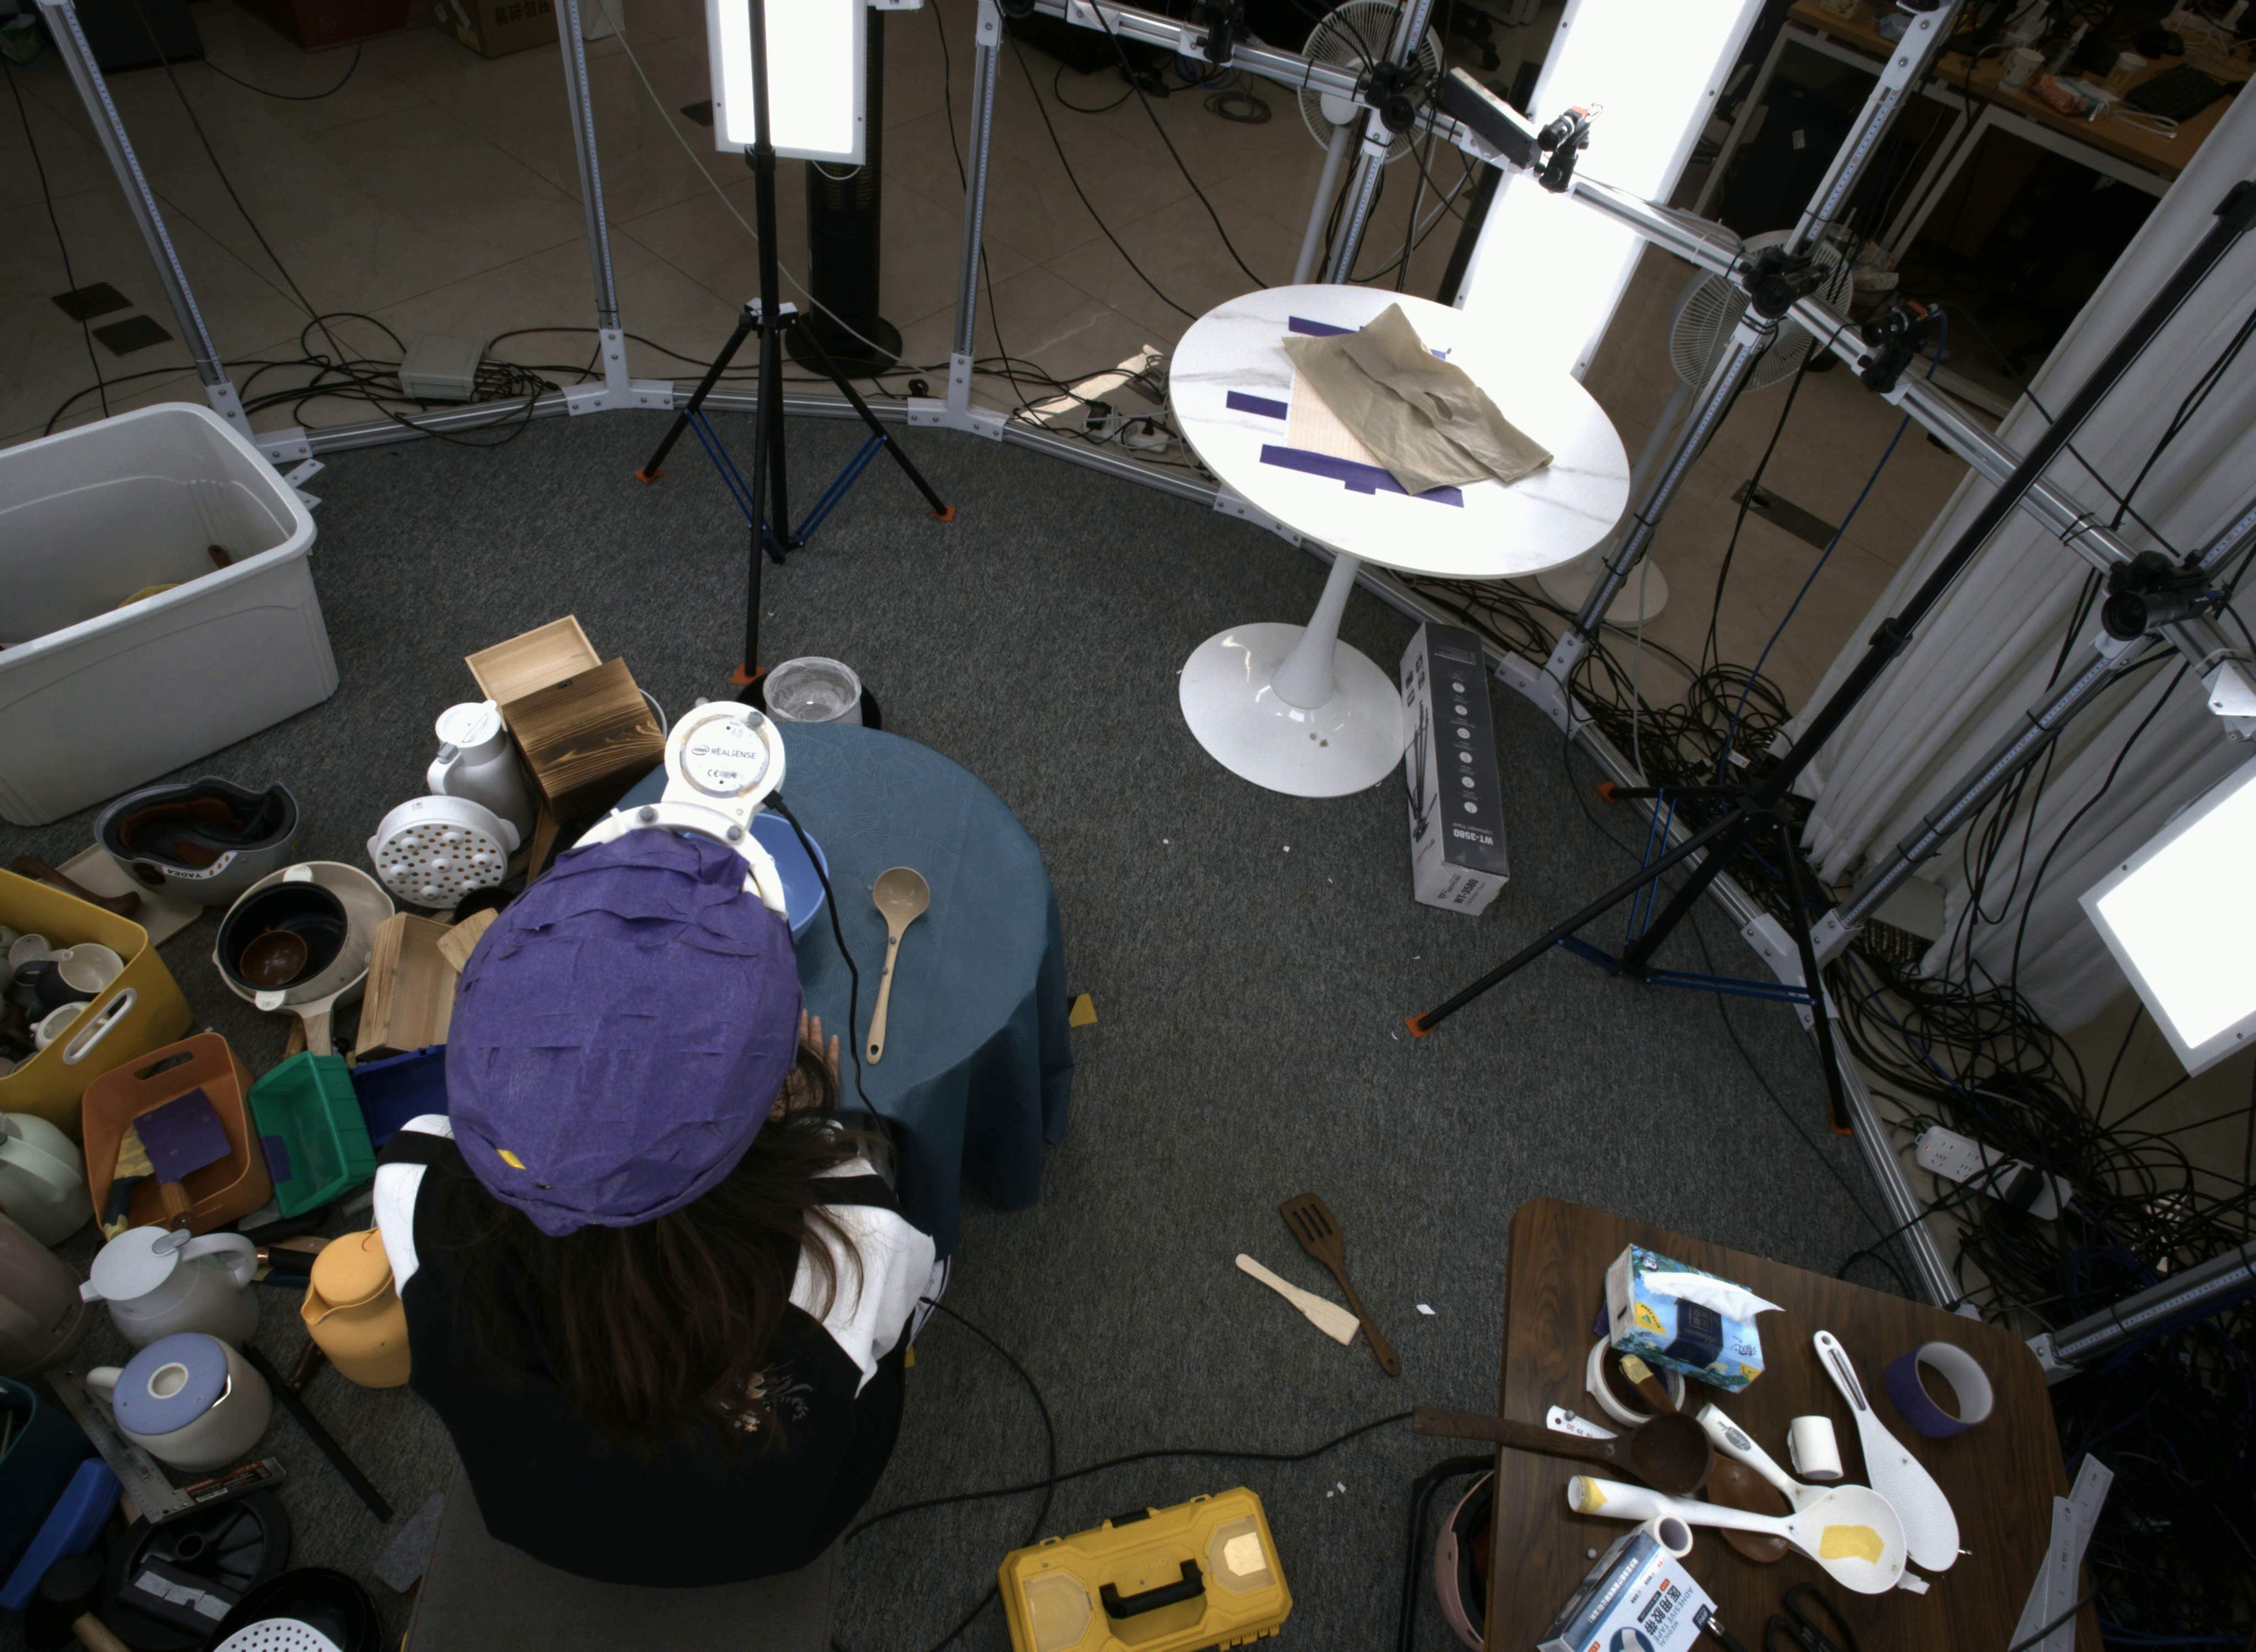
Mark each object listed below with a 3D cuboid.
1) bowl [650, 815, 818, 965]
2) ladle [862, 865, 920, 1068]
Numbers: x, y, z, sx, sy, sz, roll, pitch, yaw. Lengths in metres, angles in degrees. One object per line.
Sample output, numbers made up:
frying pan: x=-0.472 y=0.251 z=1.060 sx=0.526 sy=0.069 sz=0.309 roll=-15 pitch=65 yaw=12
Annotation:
bowl: x=-0.478 y=0.091 z=1.580 sx=0.196 sy=0.097 sz=0.193 roll=9 pitch=53 yaw=-10
ladle: x=-0.299 y=0.161 z=1.584 sx=0.072 sy=0.074 sz=0.250 roll=6 pitch=53 yaw=-8
